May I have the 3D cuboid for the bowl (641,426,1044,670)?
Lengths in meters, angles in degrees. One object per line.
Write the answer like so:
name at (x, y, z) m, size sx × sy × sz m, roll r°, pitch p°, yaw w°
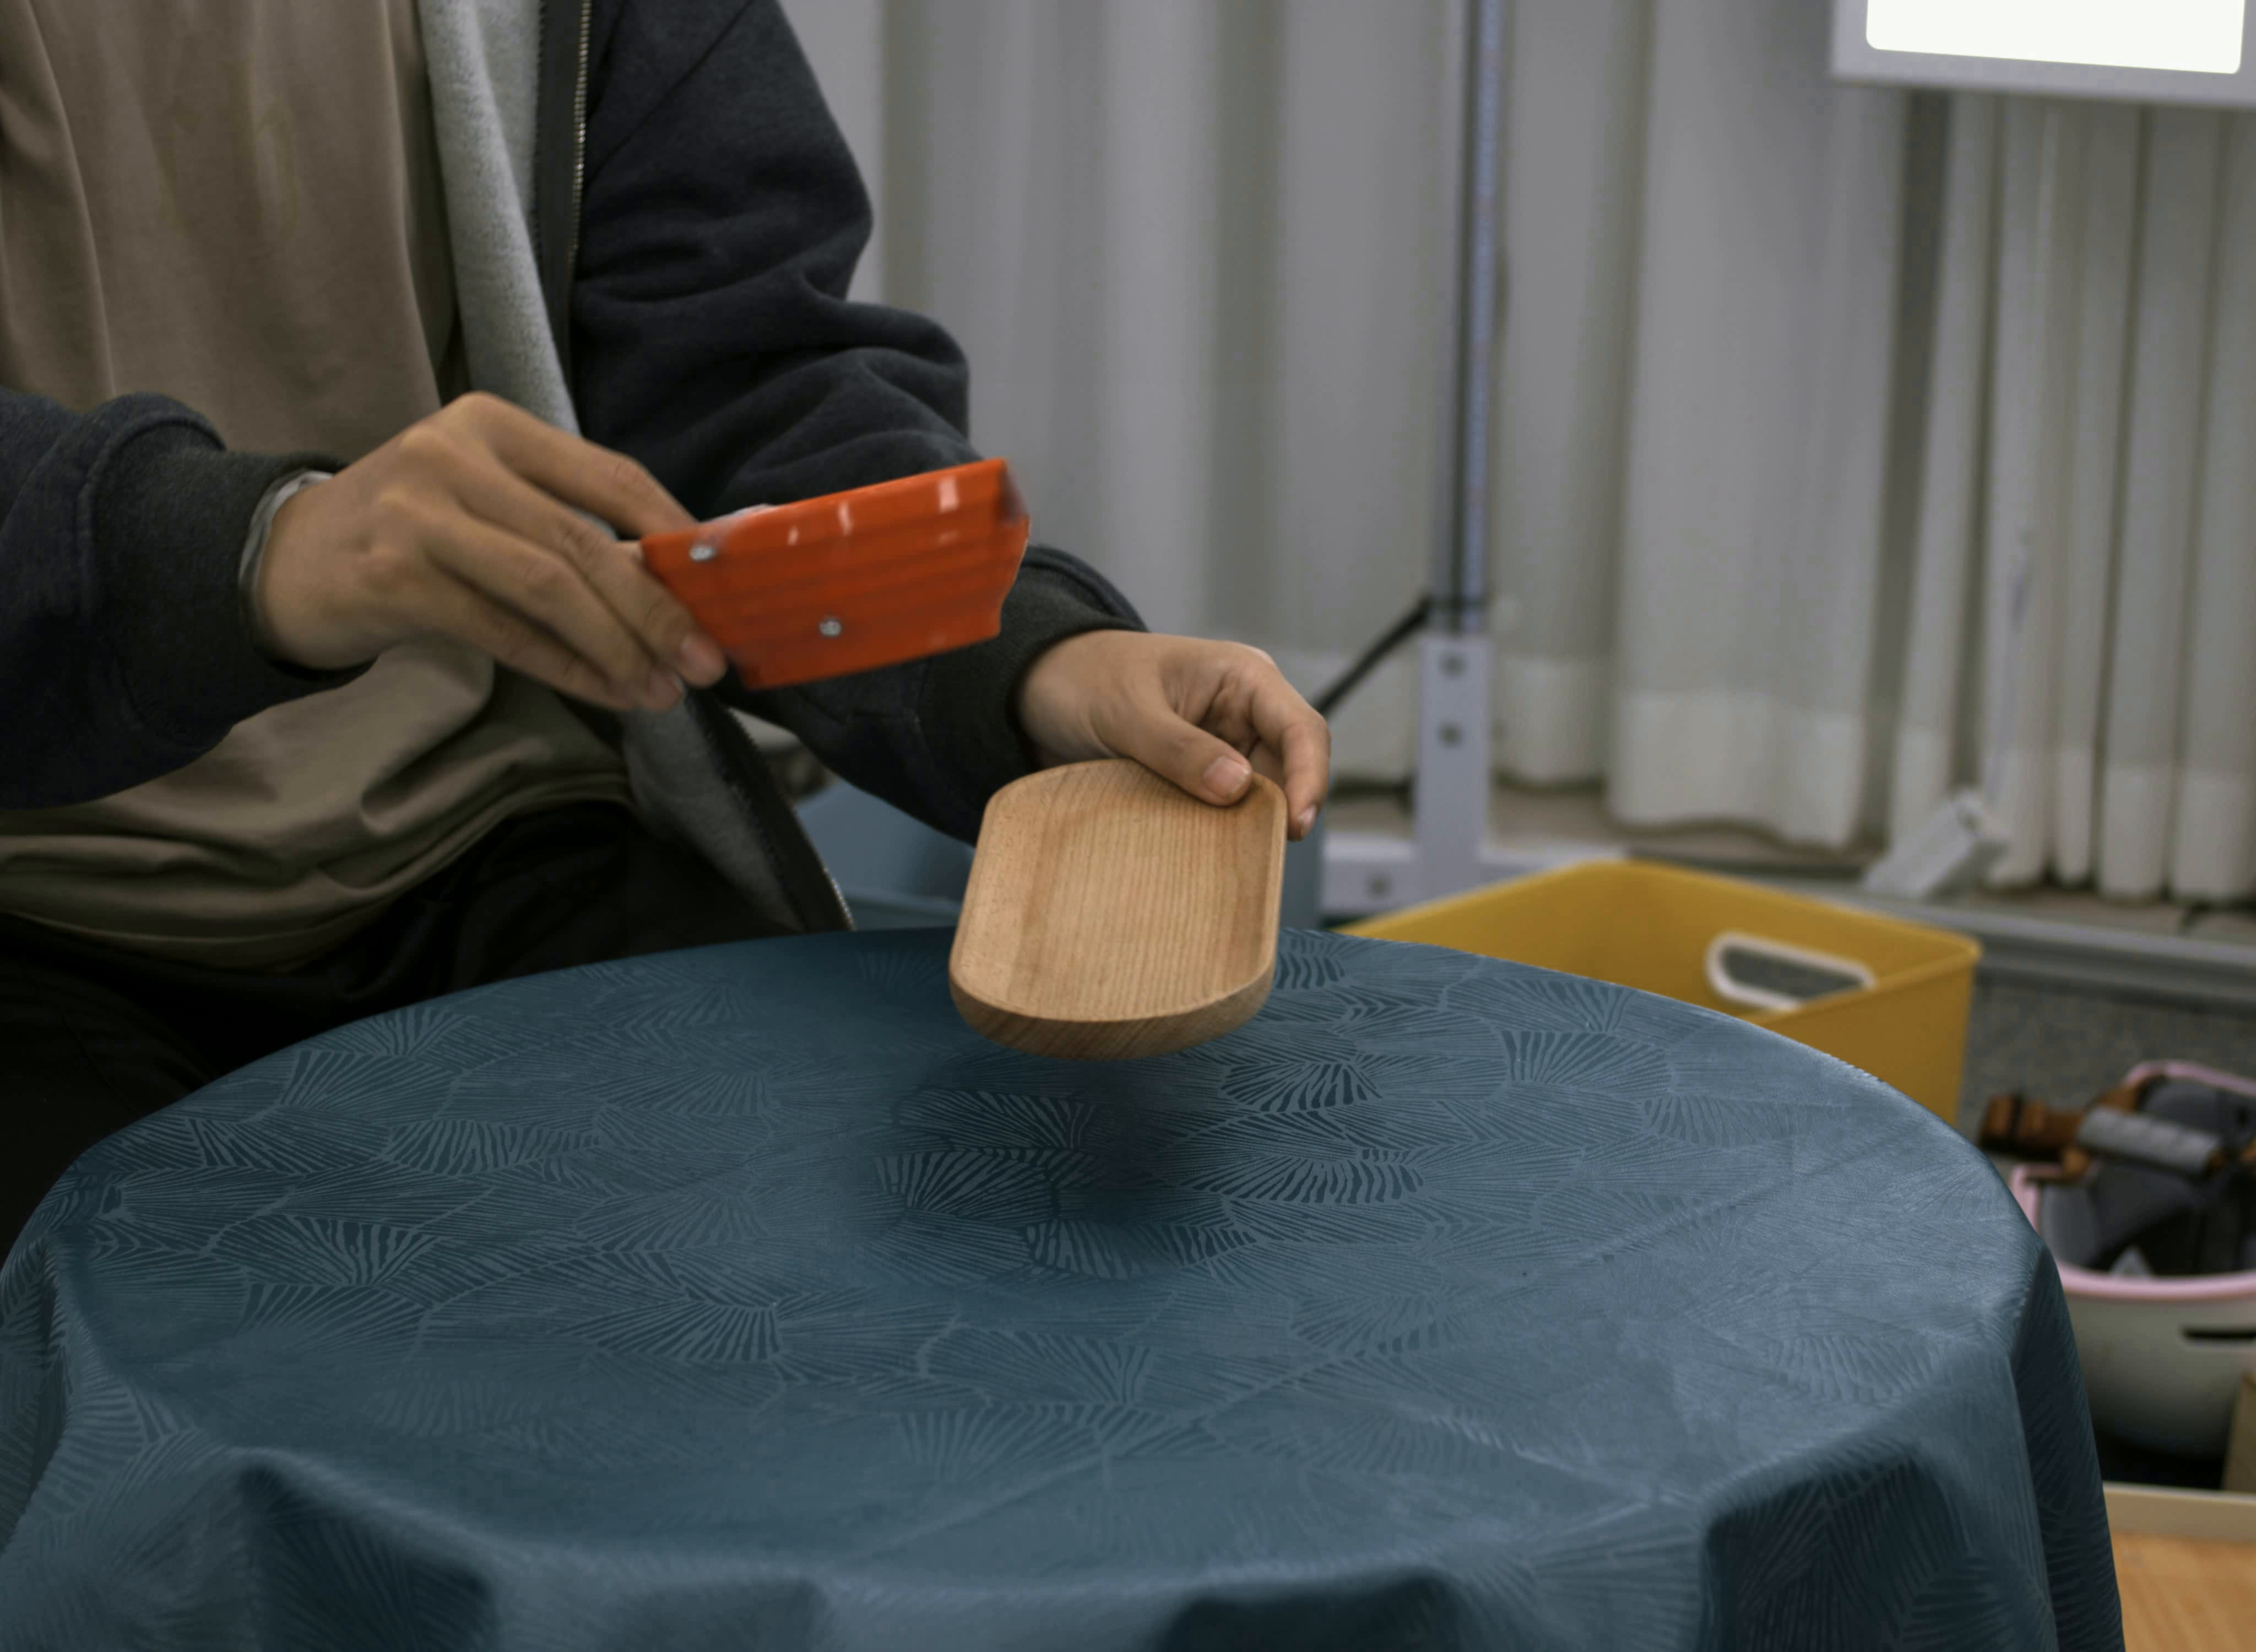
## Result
bowl at (-0.077, -0.077, 1.512) m, size 0.118 × 0.051 × 0.119 m, roll -13°, pitch 4°, yaw 2°

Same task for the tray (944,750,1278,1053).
tray at (-0.003, 0.021, 1.676) m, size 0.101 × 0.020 × 0.230 m, roll 0°, pitch 20°, yaw 2°
